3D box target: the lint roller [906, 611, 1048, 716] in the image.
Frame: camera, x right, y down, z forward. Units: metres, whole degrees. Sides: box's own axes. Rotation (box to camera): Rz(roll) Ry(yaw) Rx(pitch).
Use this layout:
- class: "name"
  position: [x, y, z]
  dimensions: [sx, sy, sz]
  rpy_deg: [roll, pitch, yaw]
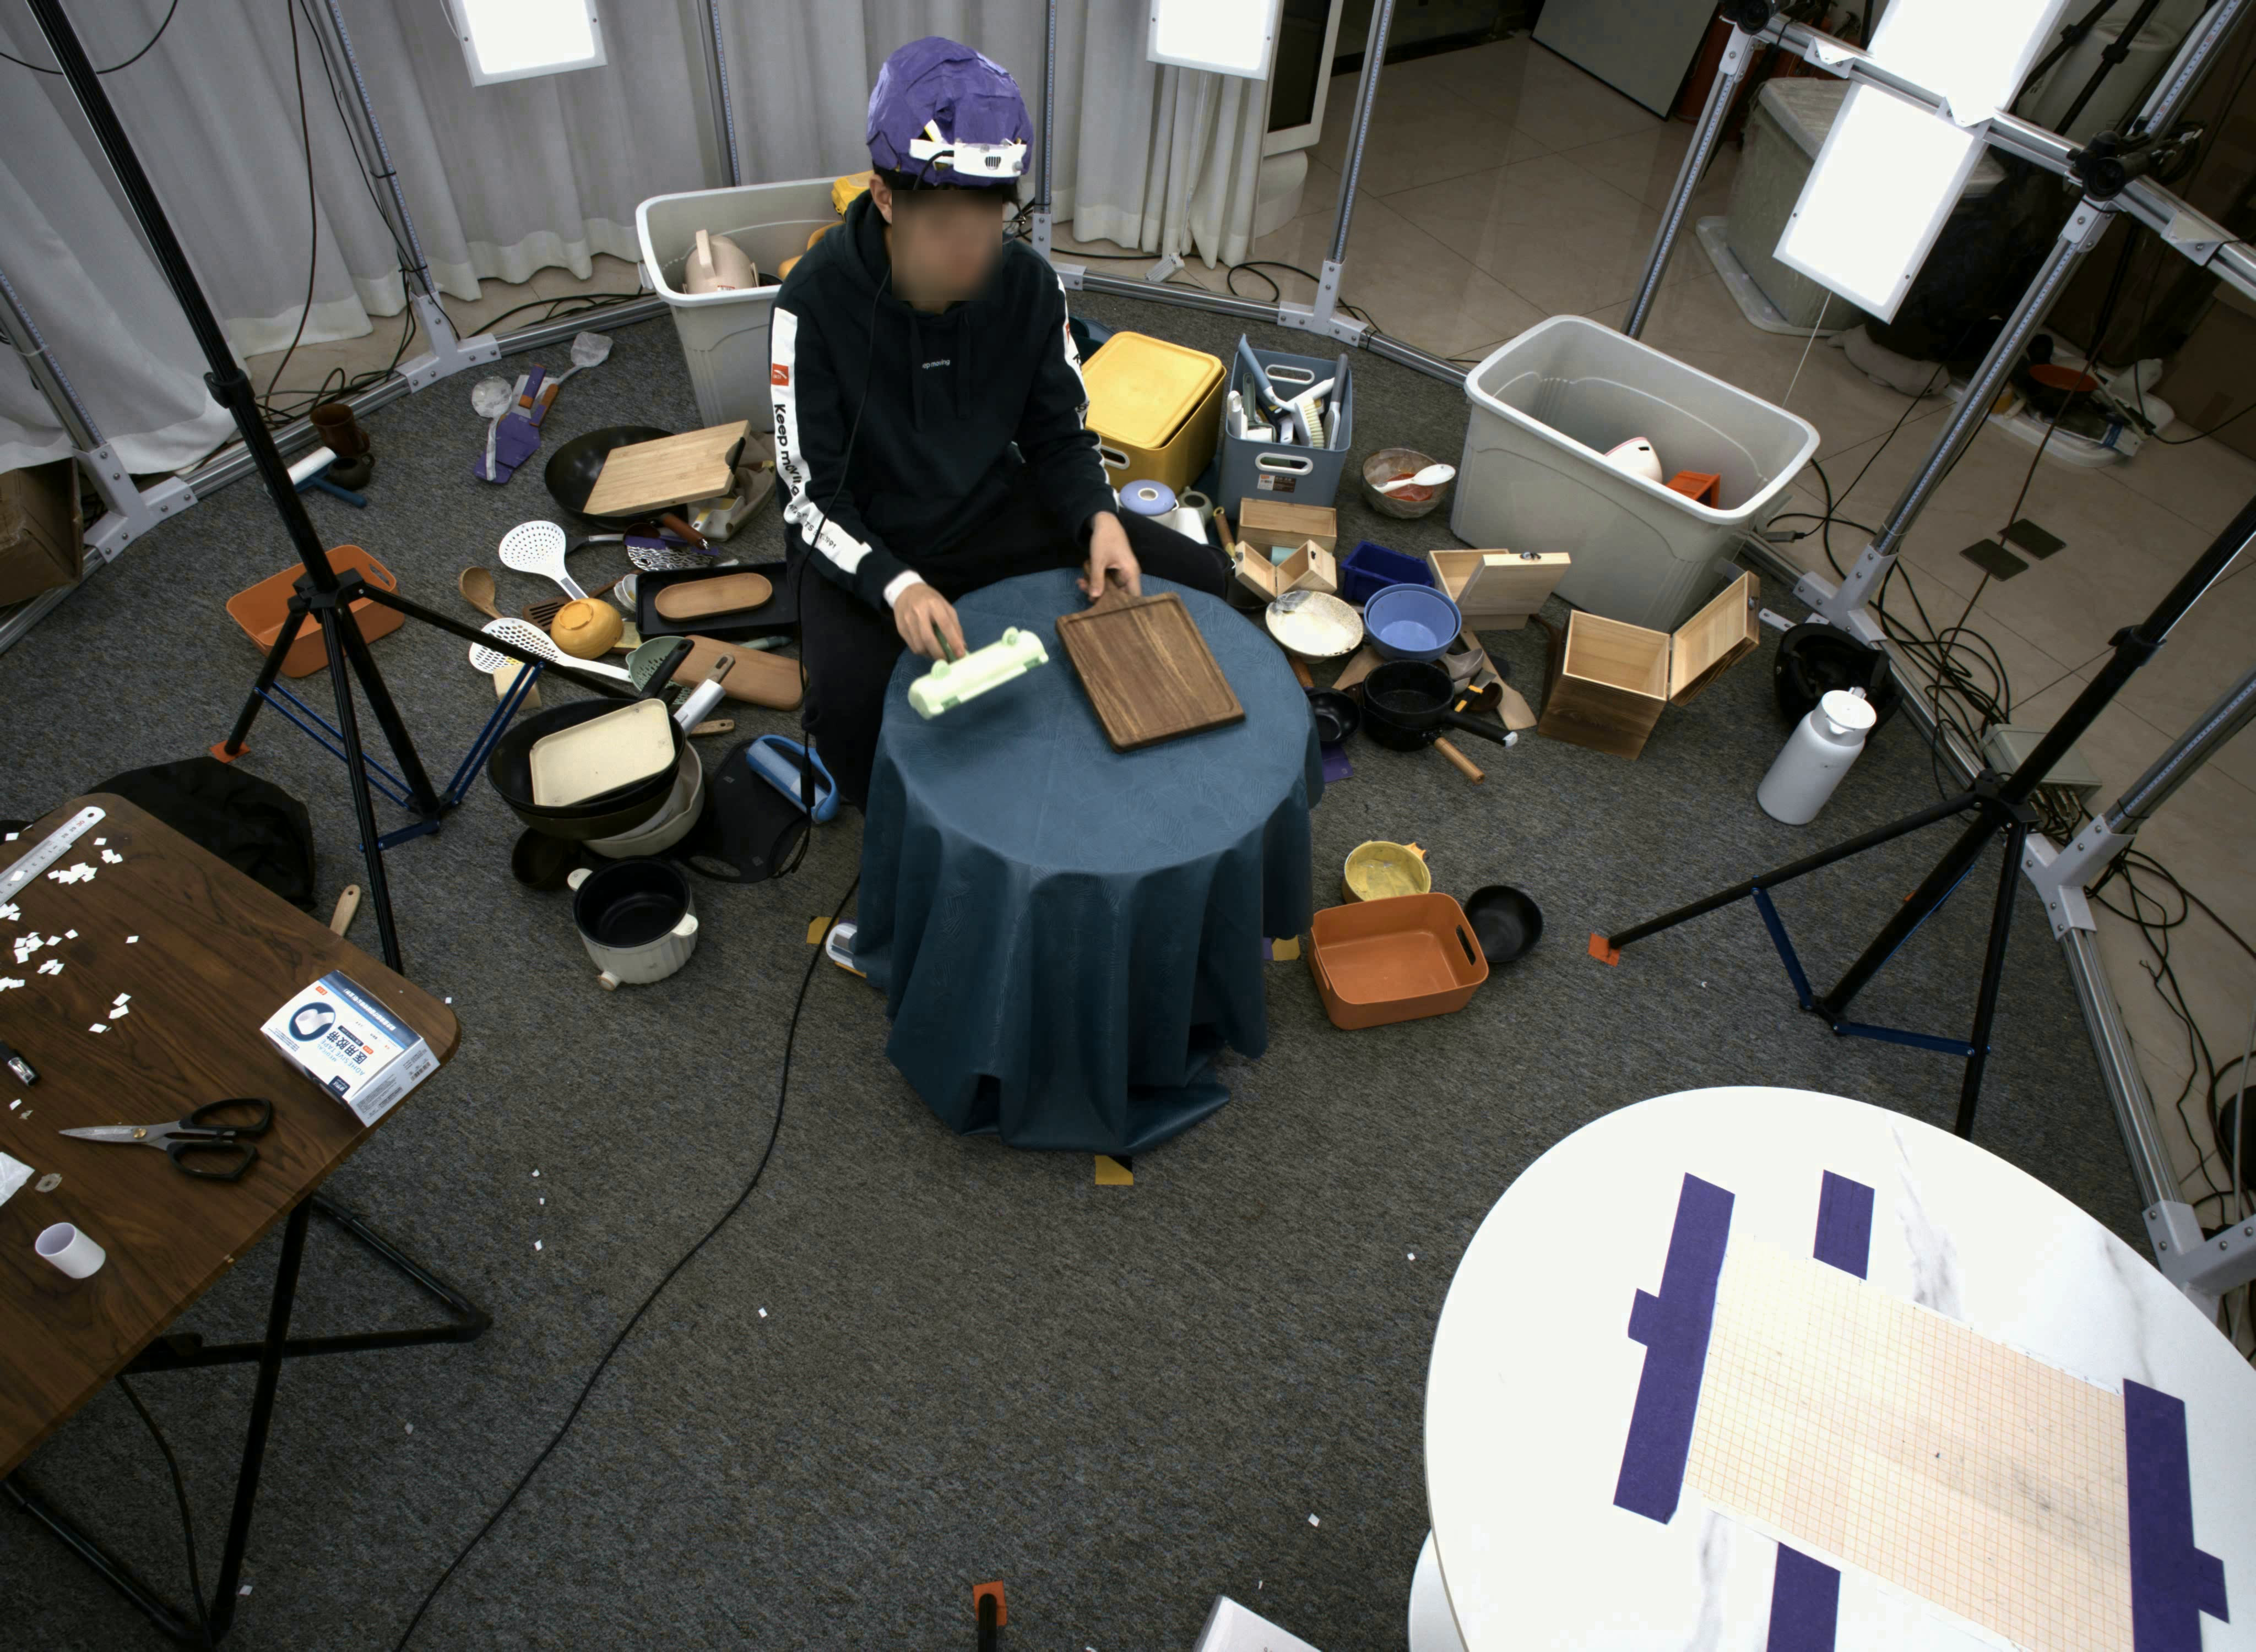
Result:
- class: "lint roller"
  position: [-0.236, -0.251, 1.750]
  dimensions: [0.200, 0.080, 0.186]
  rpy_deg: [-29, 64, -28]

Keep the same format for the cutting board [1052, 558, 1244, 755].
- class: "cutting board"
  position: [0.008, -0.264, 1.863]
  dimensions: [0.201, 0.022, 0.360]
  rpy_deg: [-16, 57, -17]
